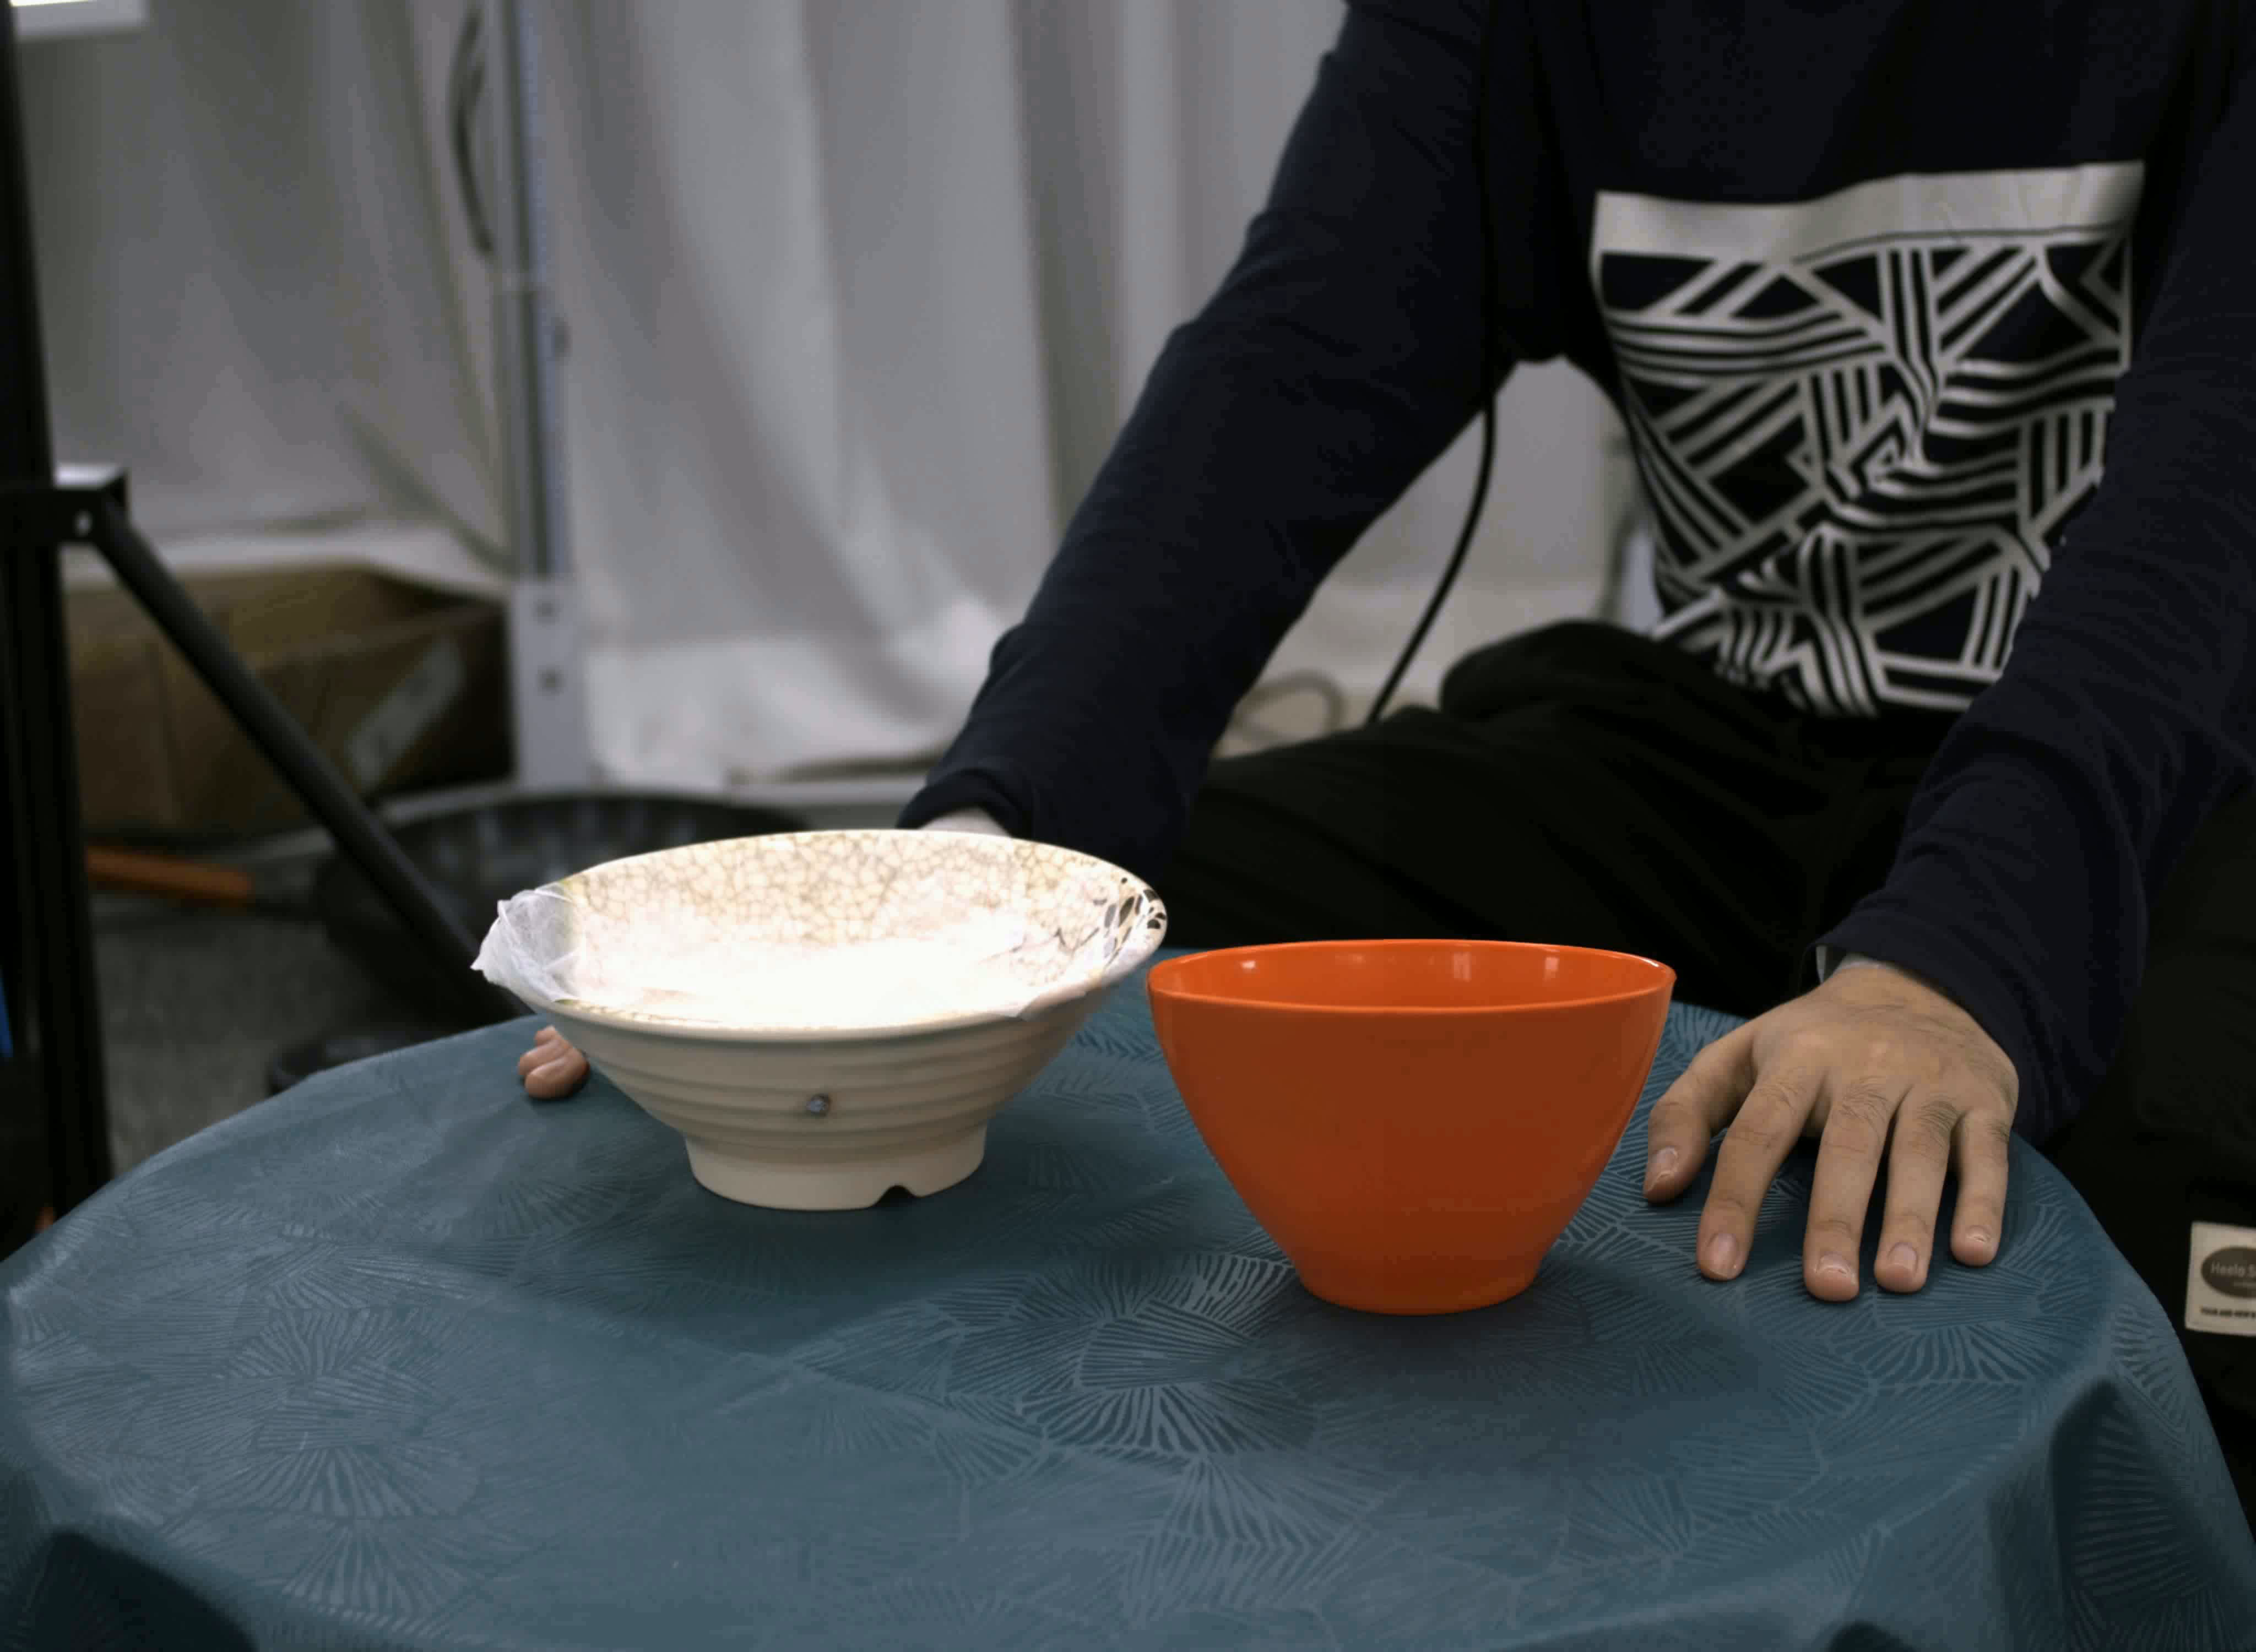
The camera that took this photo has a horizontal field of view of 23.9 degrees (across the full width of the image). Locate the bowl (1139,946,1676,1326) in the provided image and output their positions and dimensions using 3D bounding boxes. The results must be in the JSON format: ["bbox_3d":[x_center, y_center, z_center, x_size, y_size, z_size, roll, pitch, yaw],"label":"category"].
[{"bbox_3d":[0.077,0.082,1.461,0.147,0.105,0.149,-2,14,-1],"label":"bowl"}]

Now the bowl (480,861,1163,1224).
[{"bbox_3d":[-0.092,0.070,1.590,0.203,0.078,0.205,2,11,-2],"label":"bowl"}]
